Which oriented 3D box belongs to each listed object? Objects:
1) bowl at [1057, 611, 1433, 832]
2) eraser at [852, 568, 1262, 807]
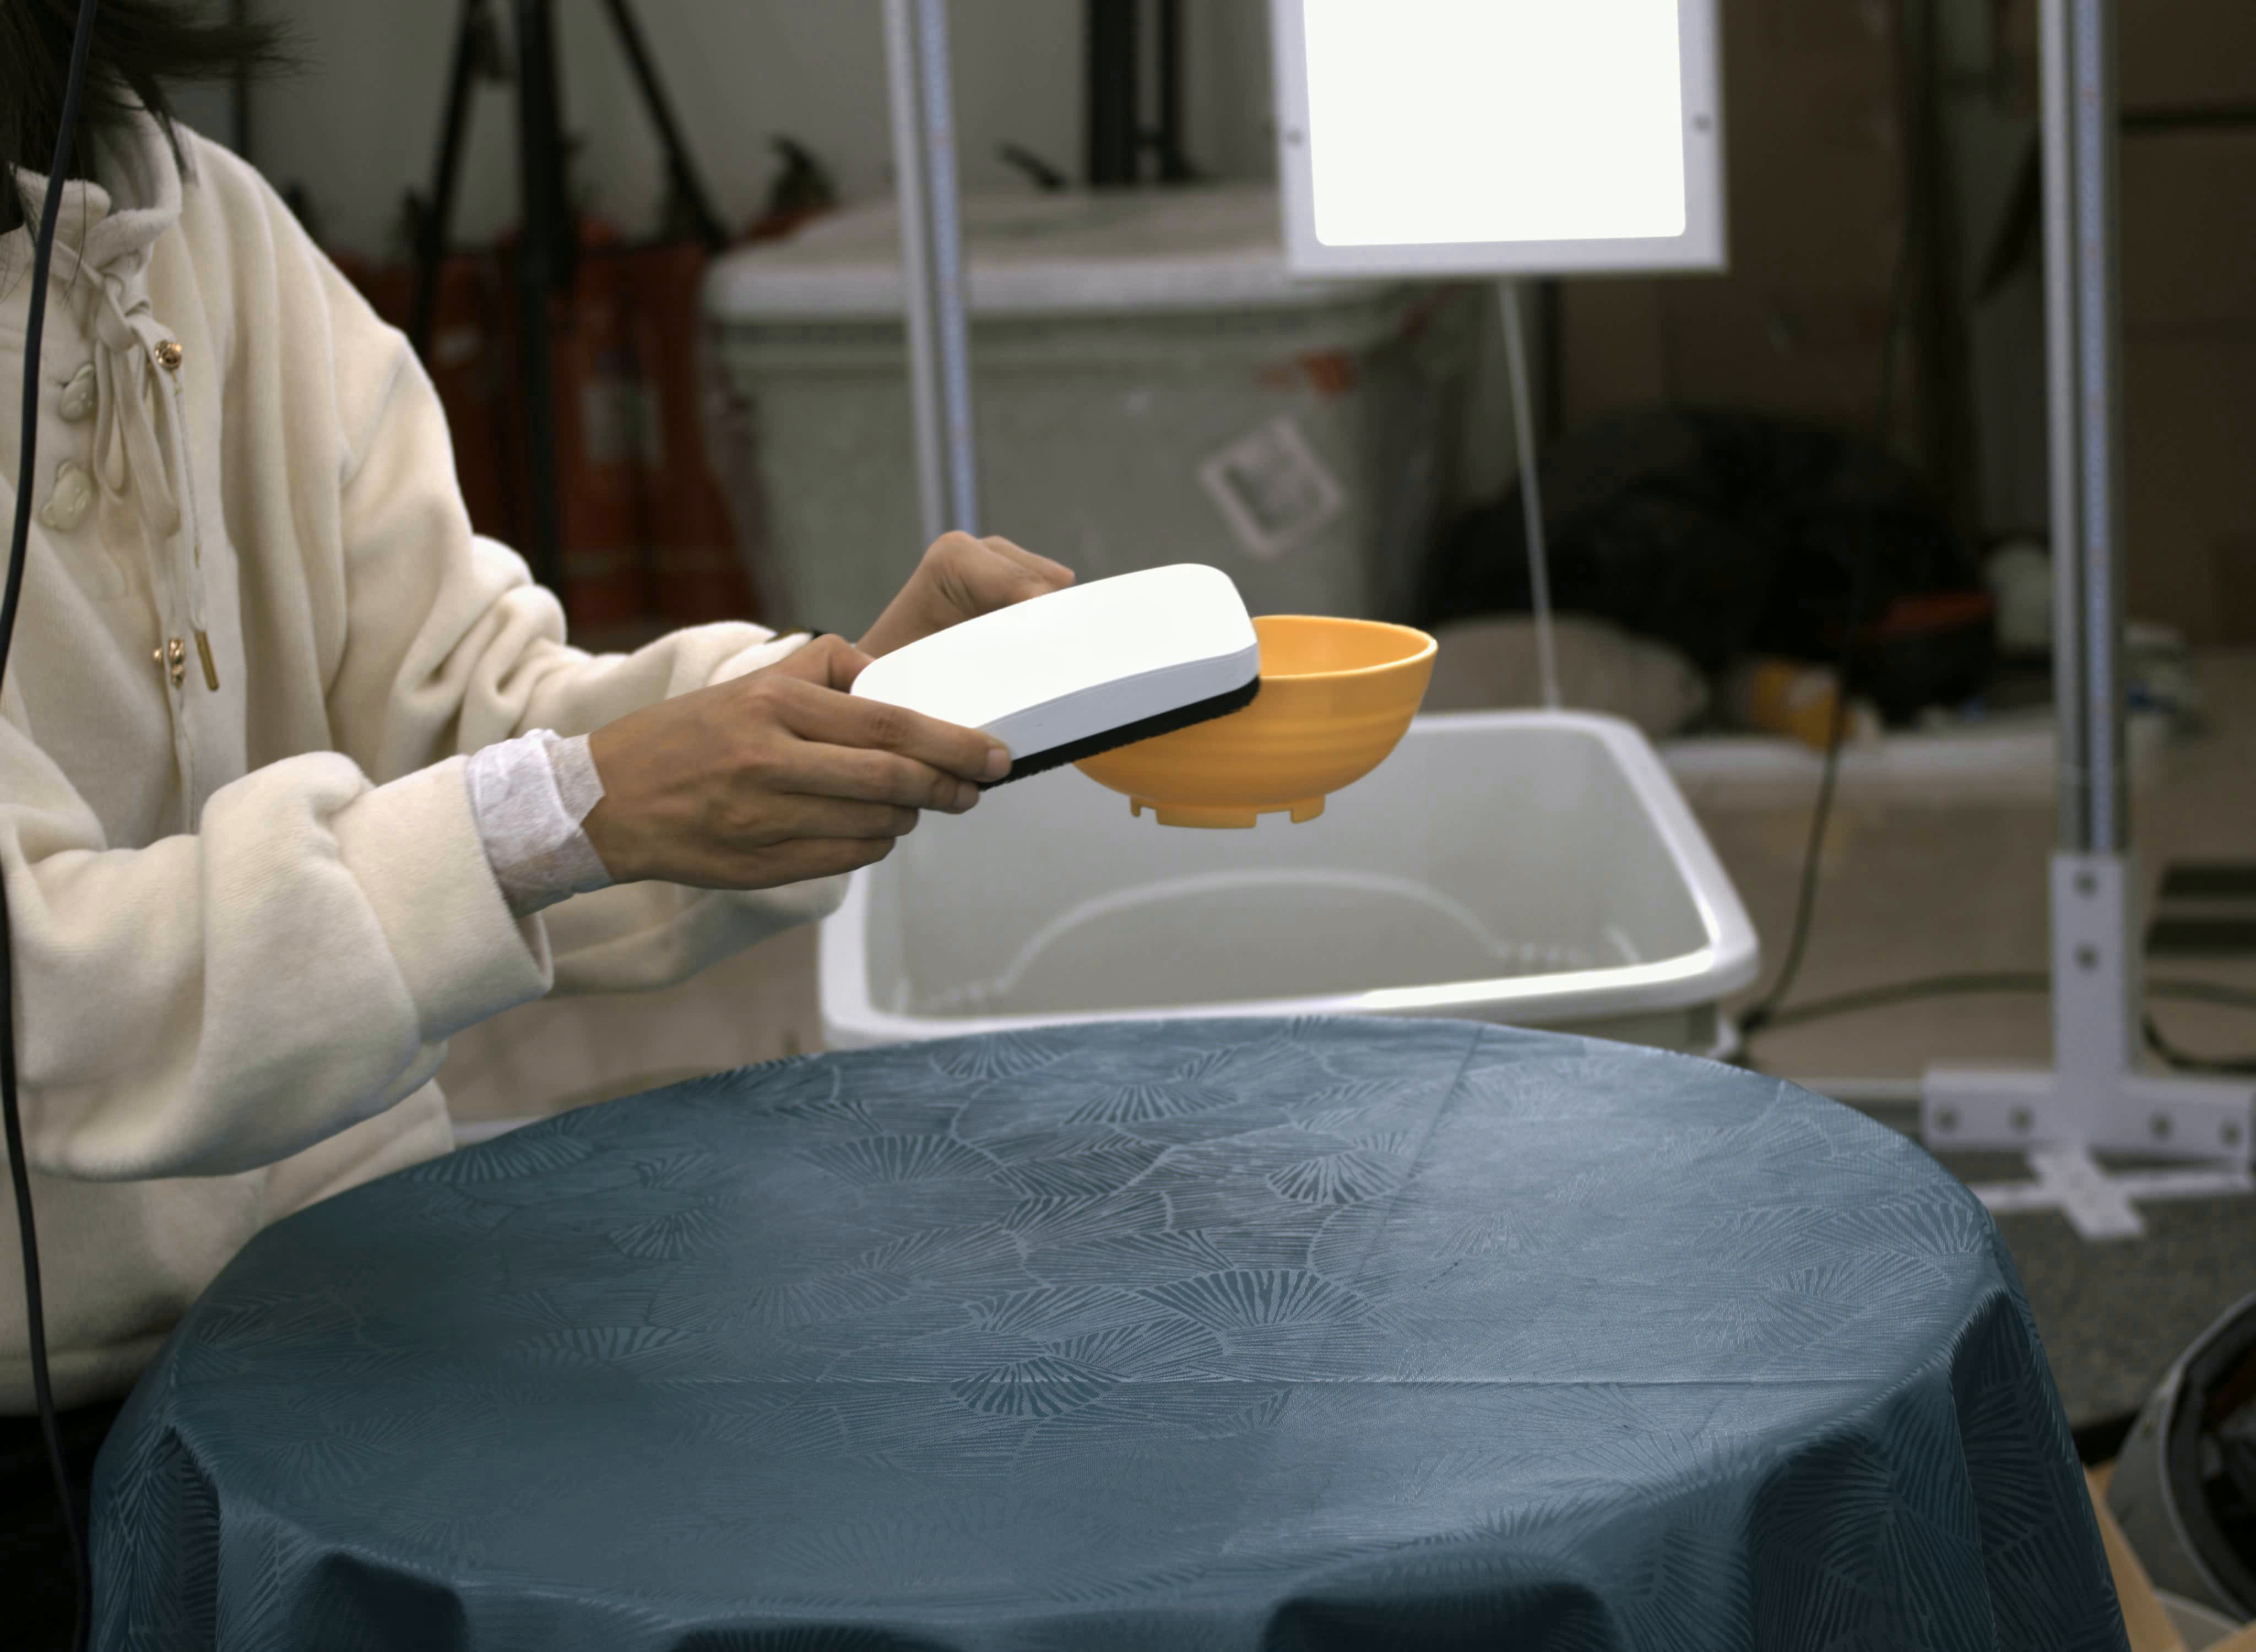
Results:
[{"bbox_3d":[0.031,-0.033,1.874,0.145,0.060,0.145,0,11,-1],"label":"bowl"},{"bbox_3d":[-0.023,-0.048,1.785,0.130,0.034,0.064,-17,34,-4],"label":"eraser"}]
